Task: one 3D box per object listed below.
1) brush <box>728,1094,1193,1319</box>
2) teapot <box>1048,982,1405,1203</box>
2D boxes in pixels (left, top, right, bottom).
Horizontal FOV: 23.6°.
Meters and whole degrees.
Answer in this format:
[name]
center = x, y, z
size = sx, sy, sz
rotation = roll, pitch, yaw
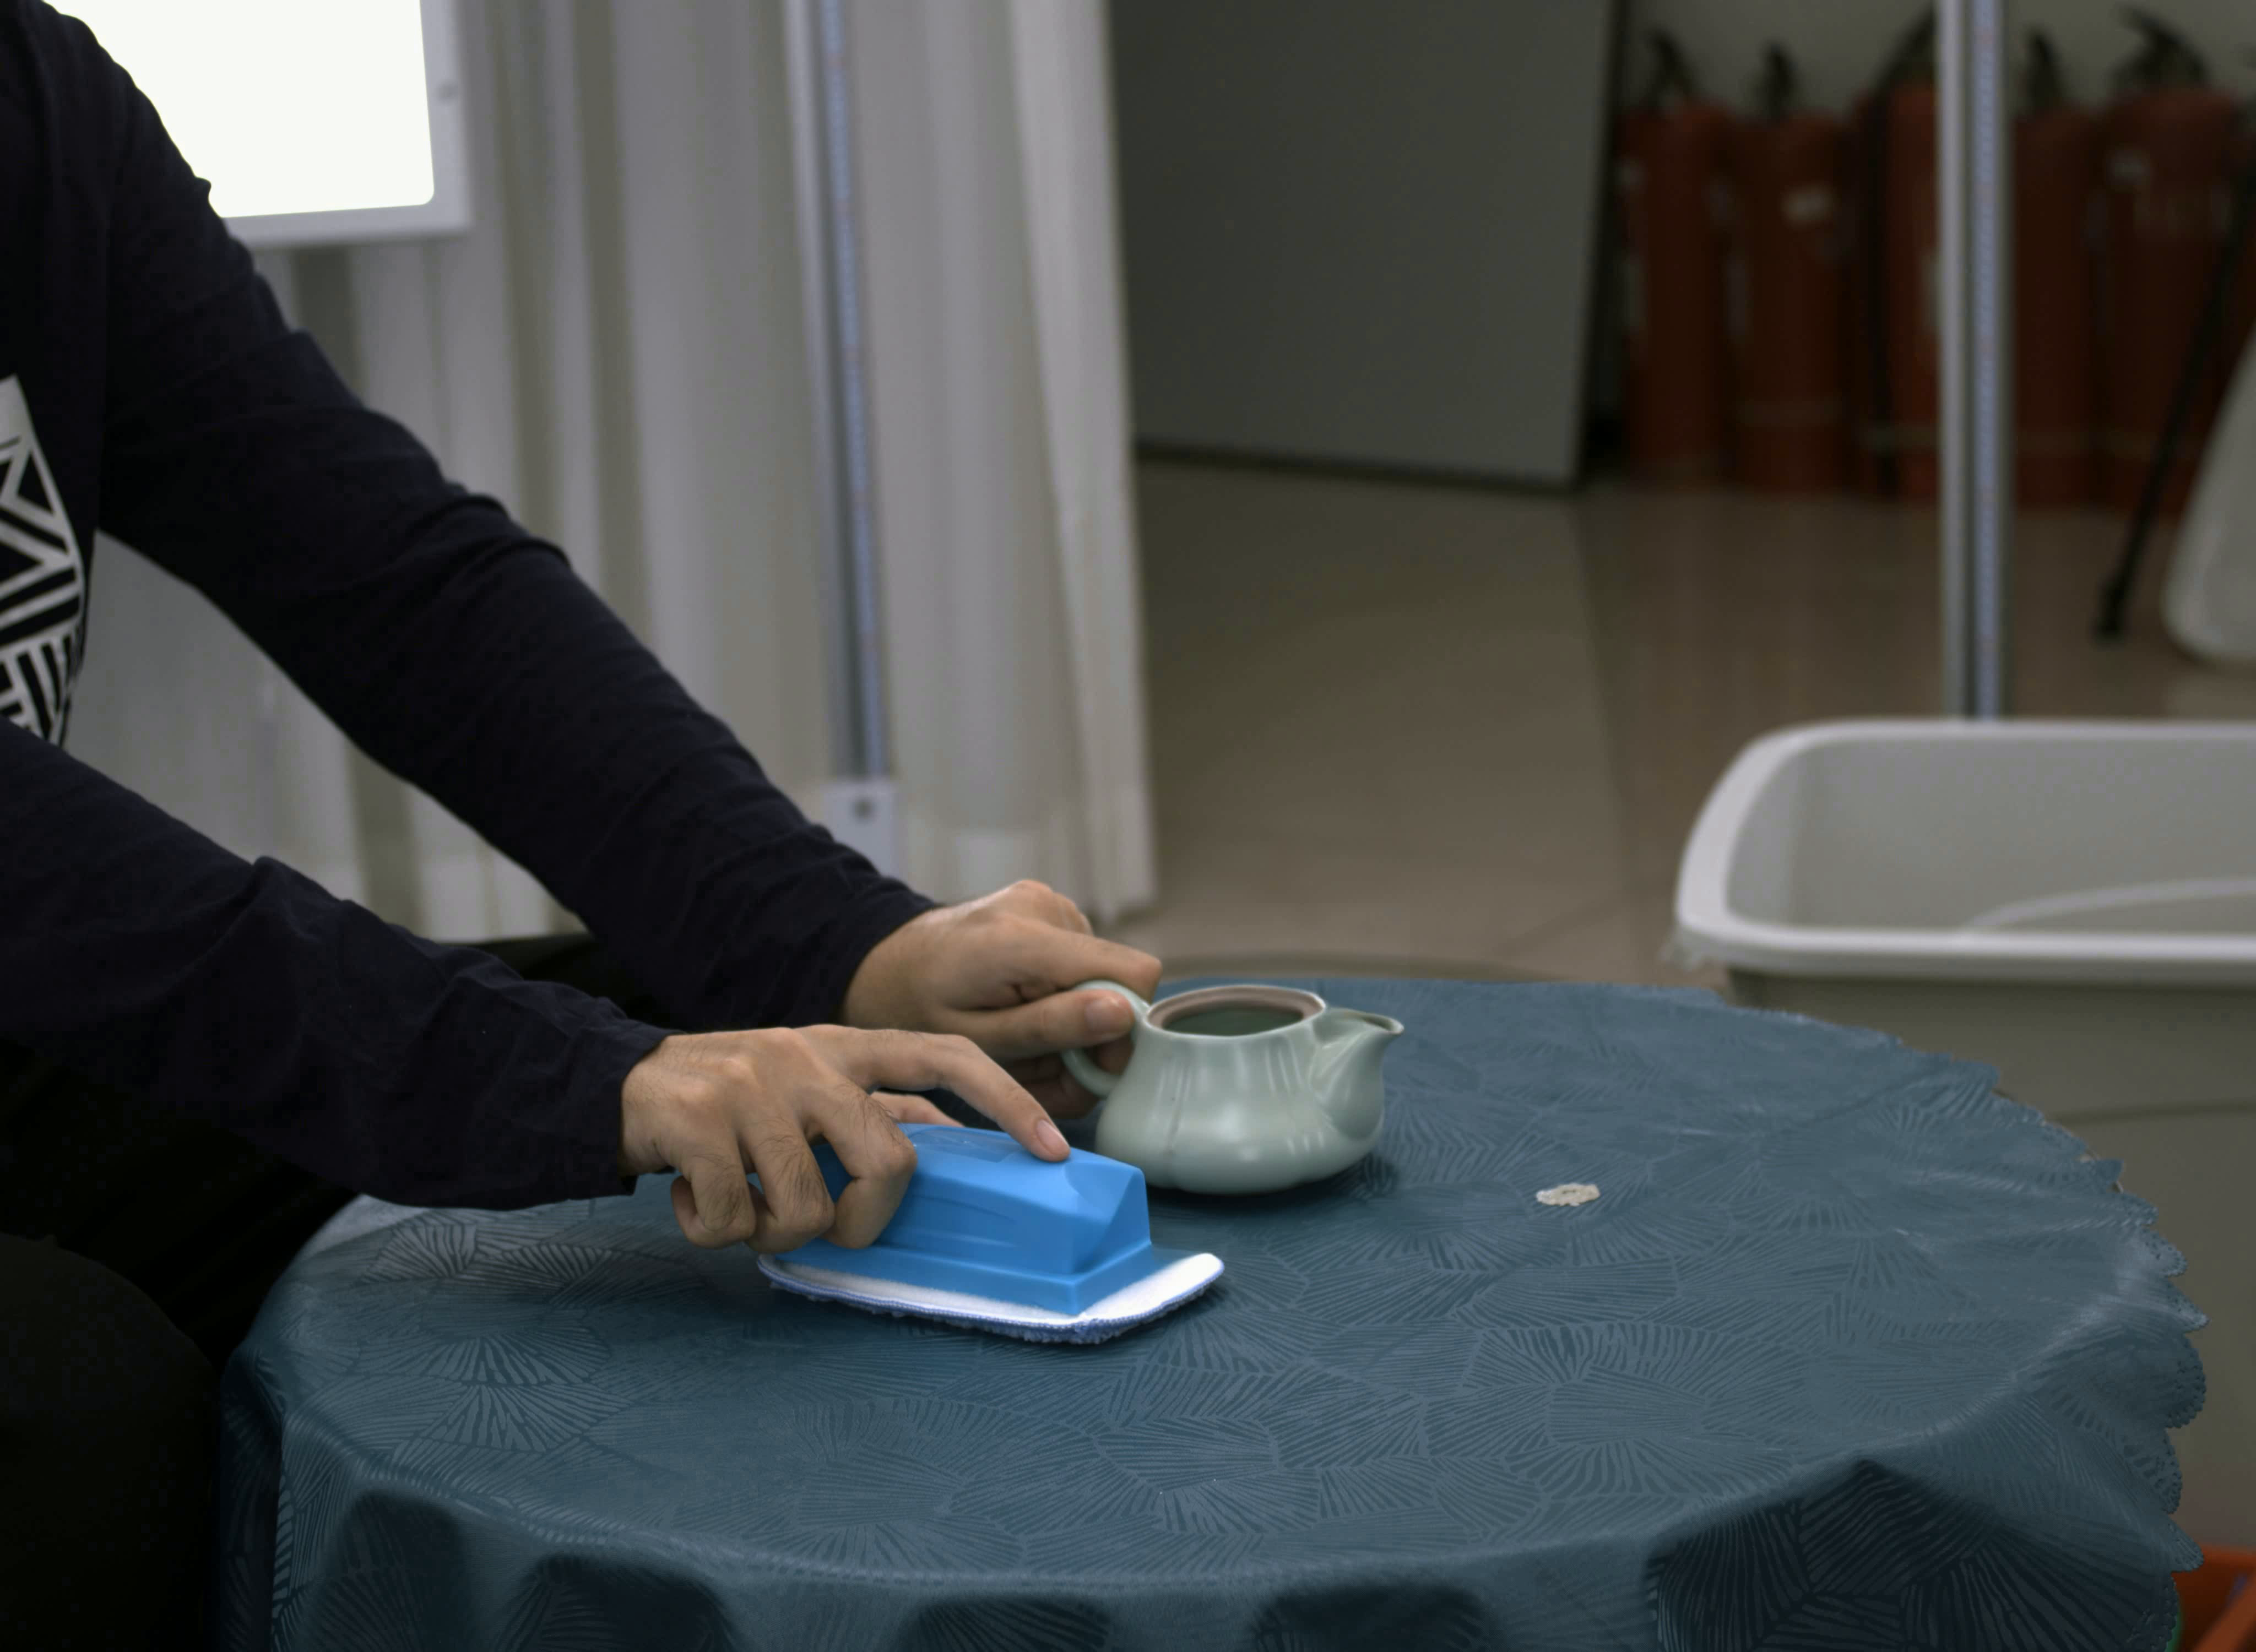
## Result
[brush]
center = -0.052, 0.117, 1.680
size = 0.145, 0.056, 0.082
rotation = 10, 16, 38
[teapot]
center = 0.033, 0.086, 1.781
size = 0.137, 0.062, 0.094
rotation = 6, 19, 33
